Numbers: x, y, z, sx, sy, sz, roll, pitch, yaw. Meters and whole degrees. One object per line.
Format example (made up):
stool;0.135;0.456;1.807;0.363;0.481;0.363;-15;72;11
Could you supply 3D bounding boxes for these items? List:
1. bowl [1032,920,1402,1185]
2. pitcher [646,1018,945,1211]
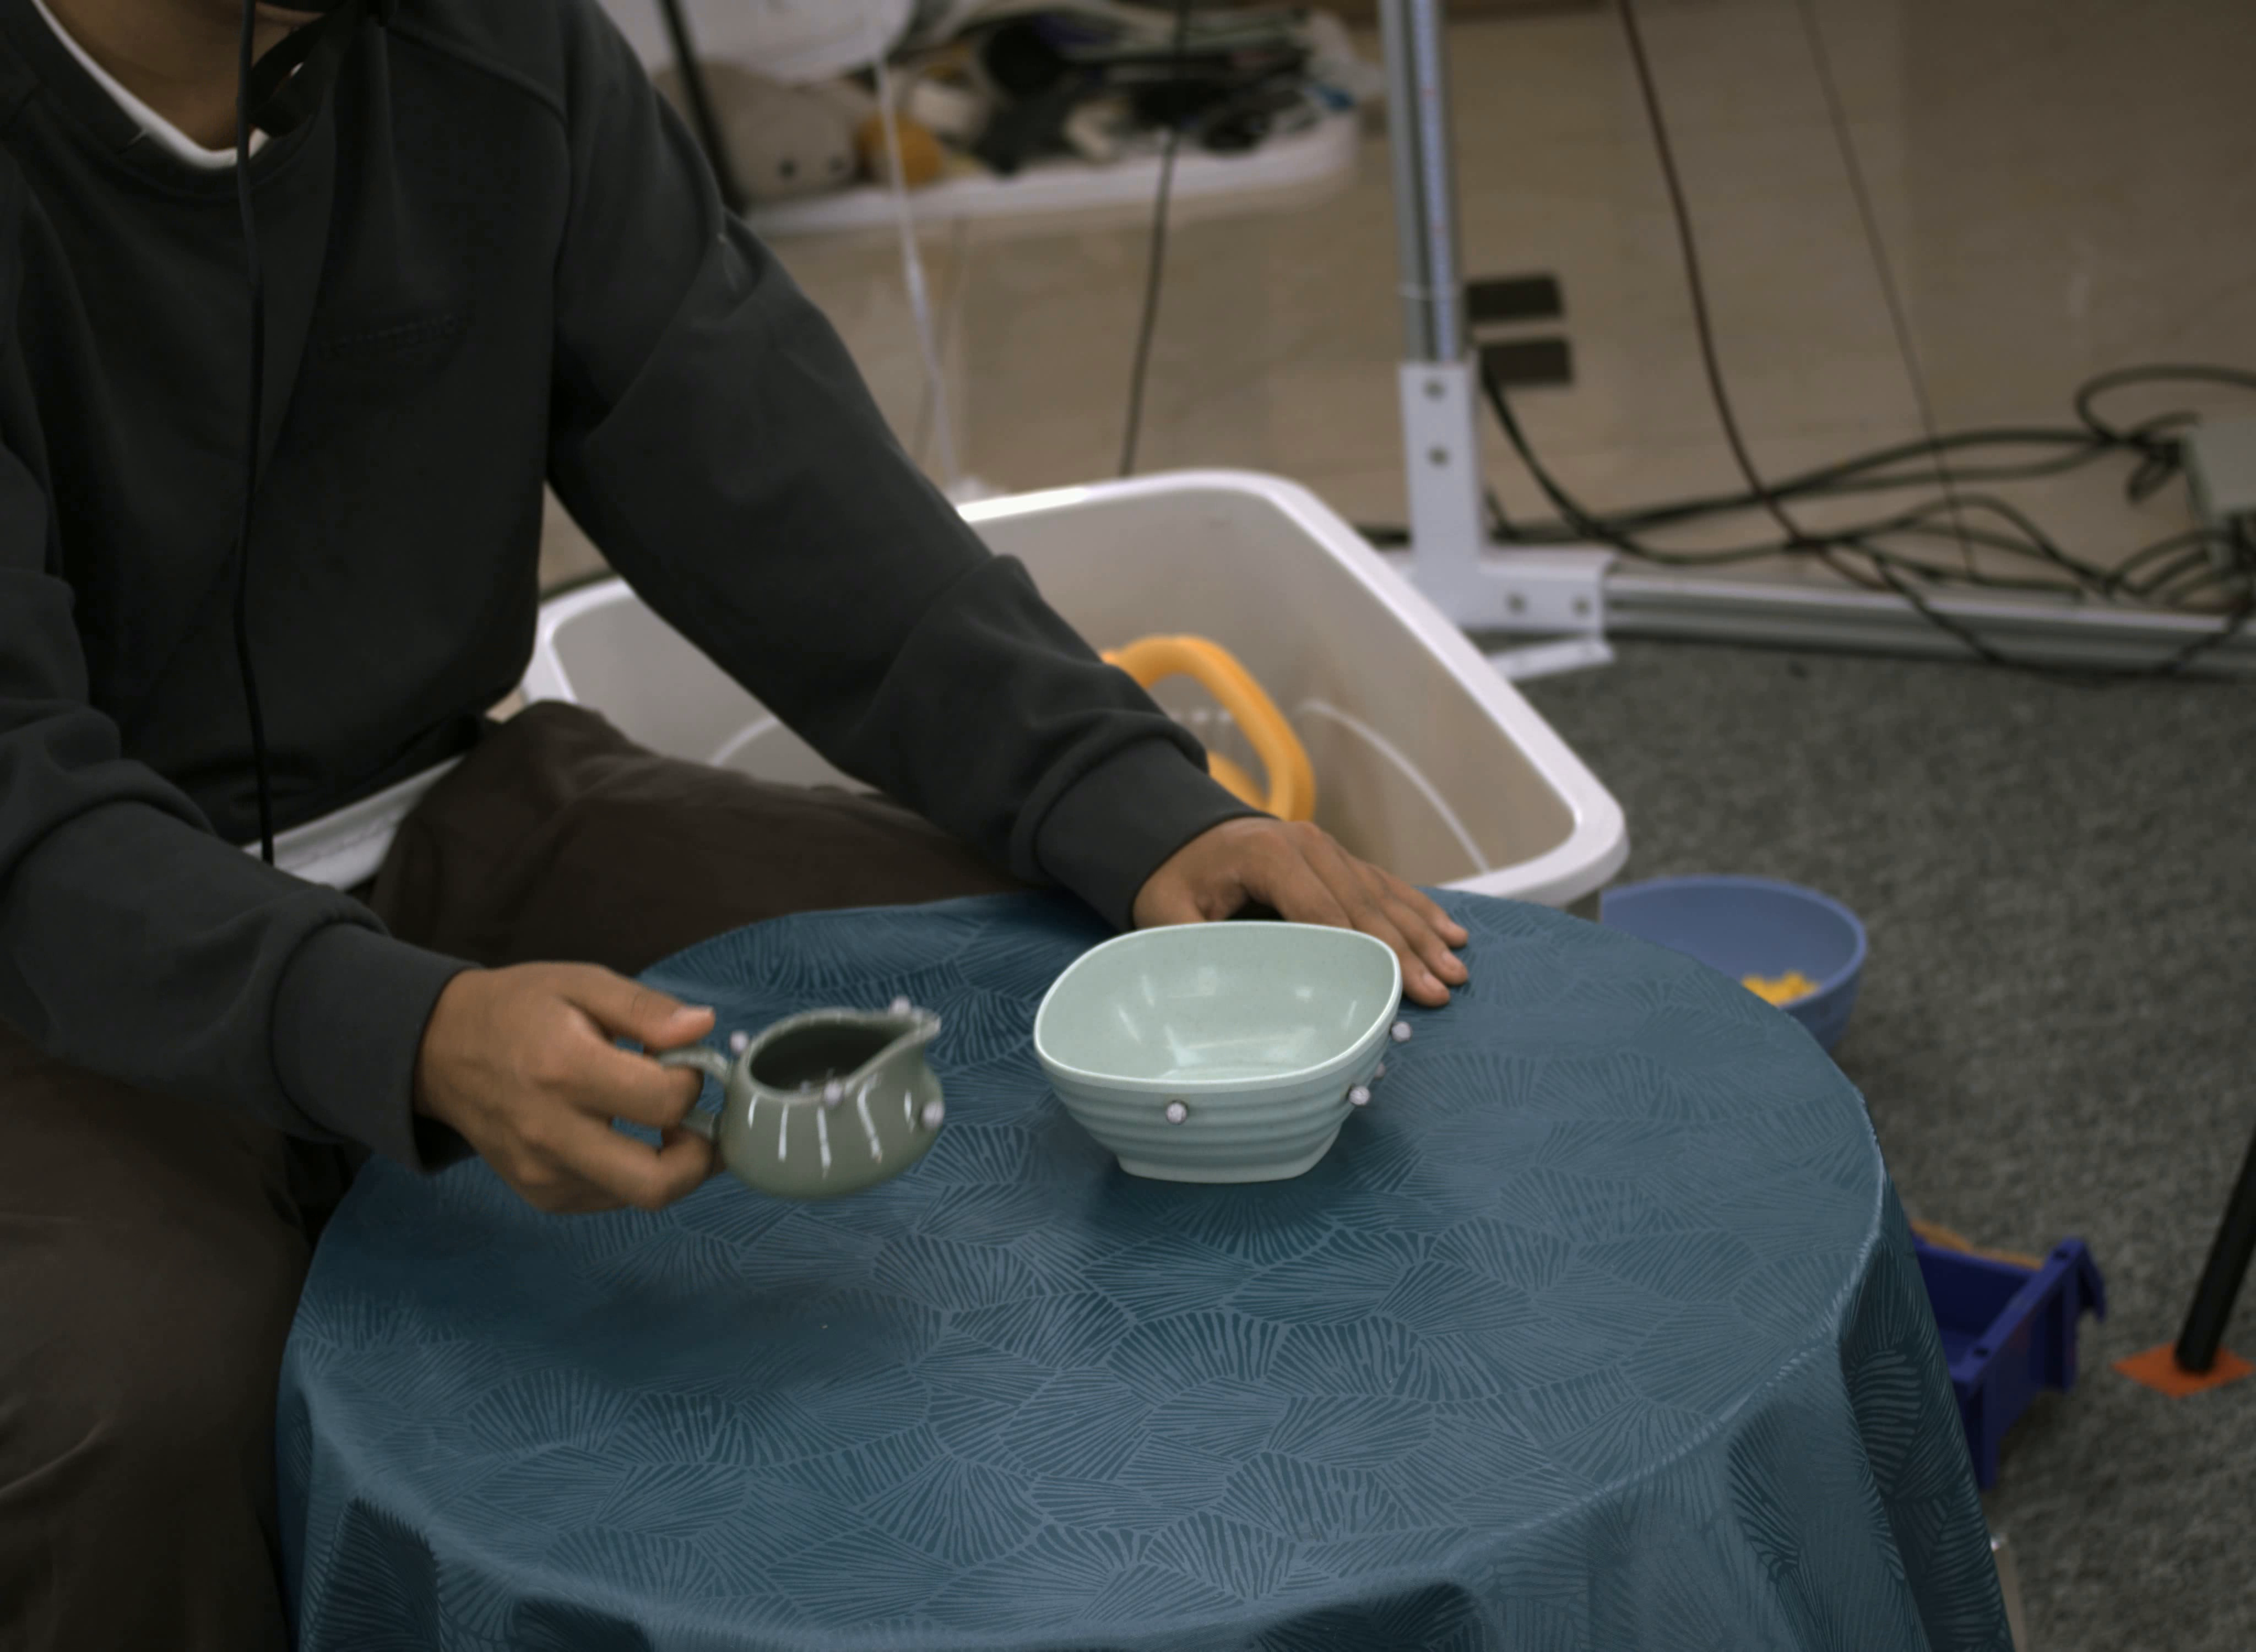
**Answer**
bowl;0.036;0.092;2.174;0.151;0.059;0.149;-4;26;2
pitcher;-0.116;0.102;2.051;0.112;0.057;0.083;-8;32;10
